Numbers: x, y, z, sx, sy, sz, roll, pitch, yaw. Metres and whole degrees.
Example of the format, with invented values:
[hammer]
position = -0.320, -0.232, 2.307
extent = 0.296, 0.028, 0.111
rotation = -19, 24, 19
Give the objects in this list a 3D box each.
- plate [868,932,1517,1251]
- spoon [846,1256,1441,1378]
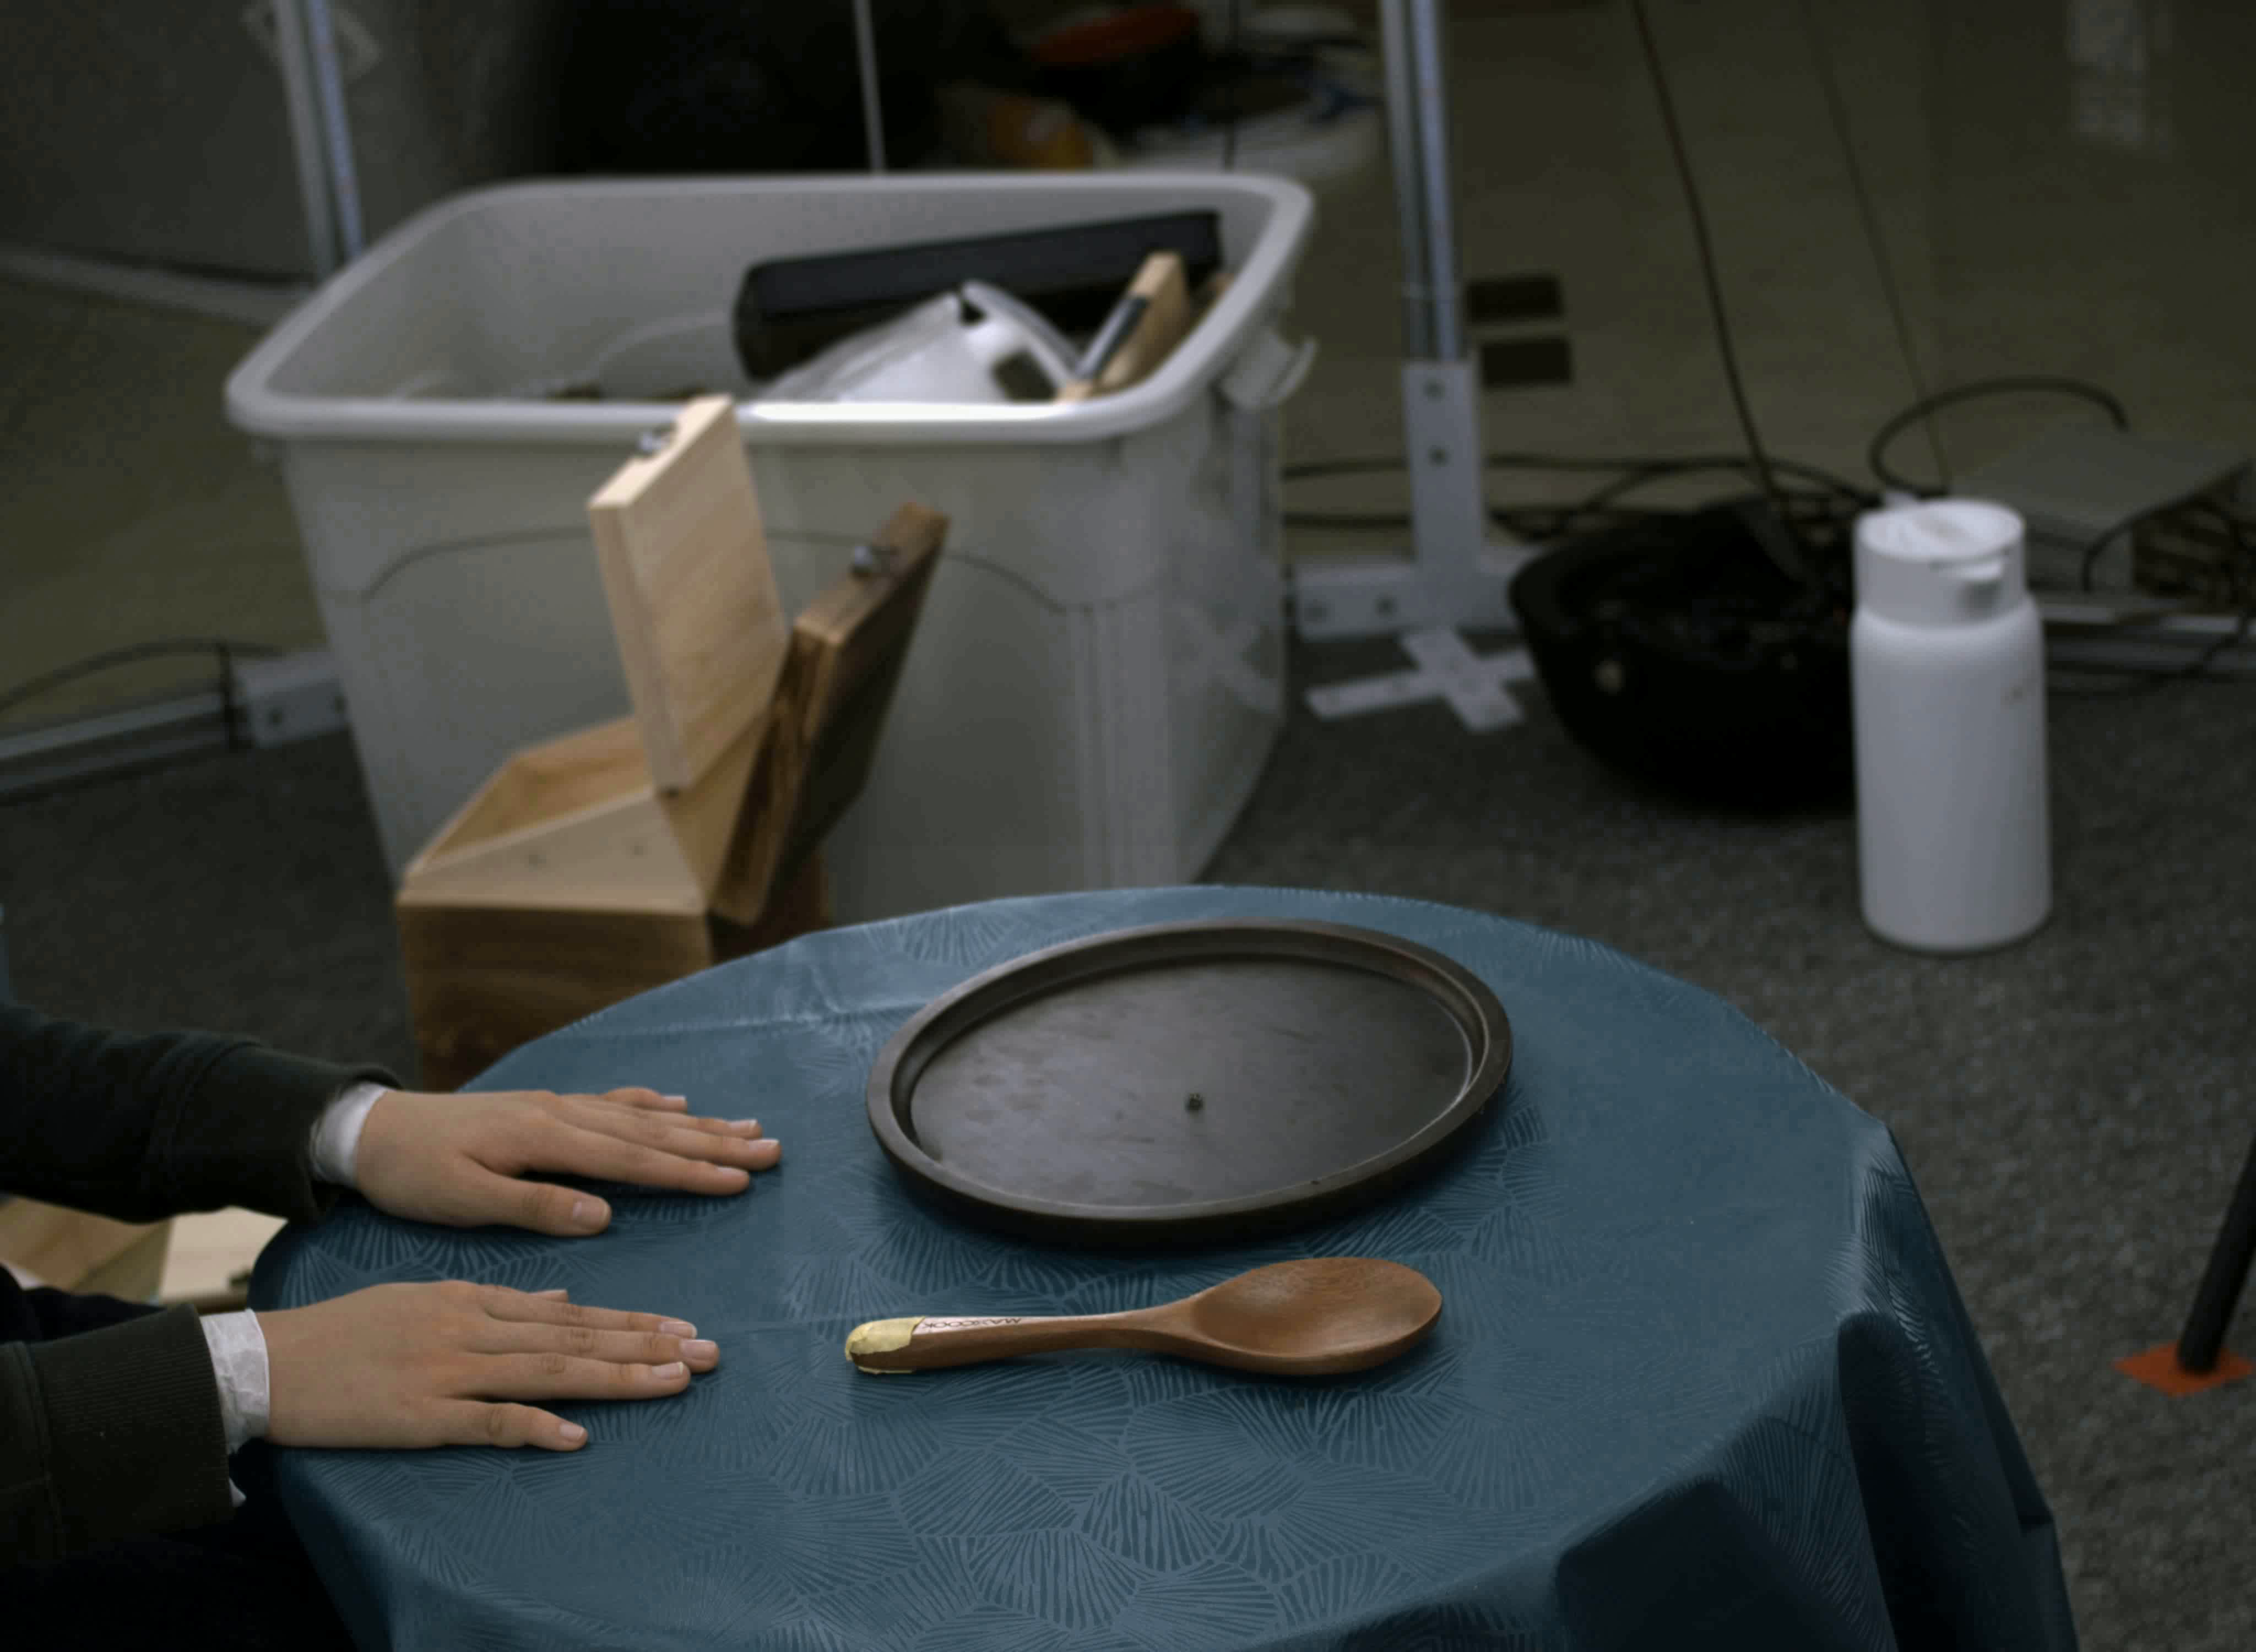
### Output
[plate]
position = 0.025, 0.101, 2.203
extent = 0.254, 0.029, 0.251
rotation = -4, 24, 2
[spoon]
position = 0.005, 0.182, 2.040
extent = 0.215, 0.017, 0.074
rotation = -3, 25, 6
